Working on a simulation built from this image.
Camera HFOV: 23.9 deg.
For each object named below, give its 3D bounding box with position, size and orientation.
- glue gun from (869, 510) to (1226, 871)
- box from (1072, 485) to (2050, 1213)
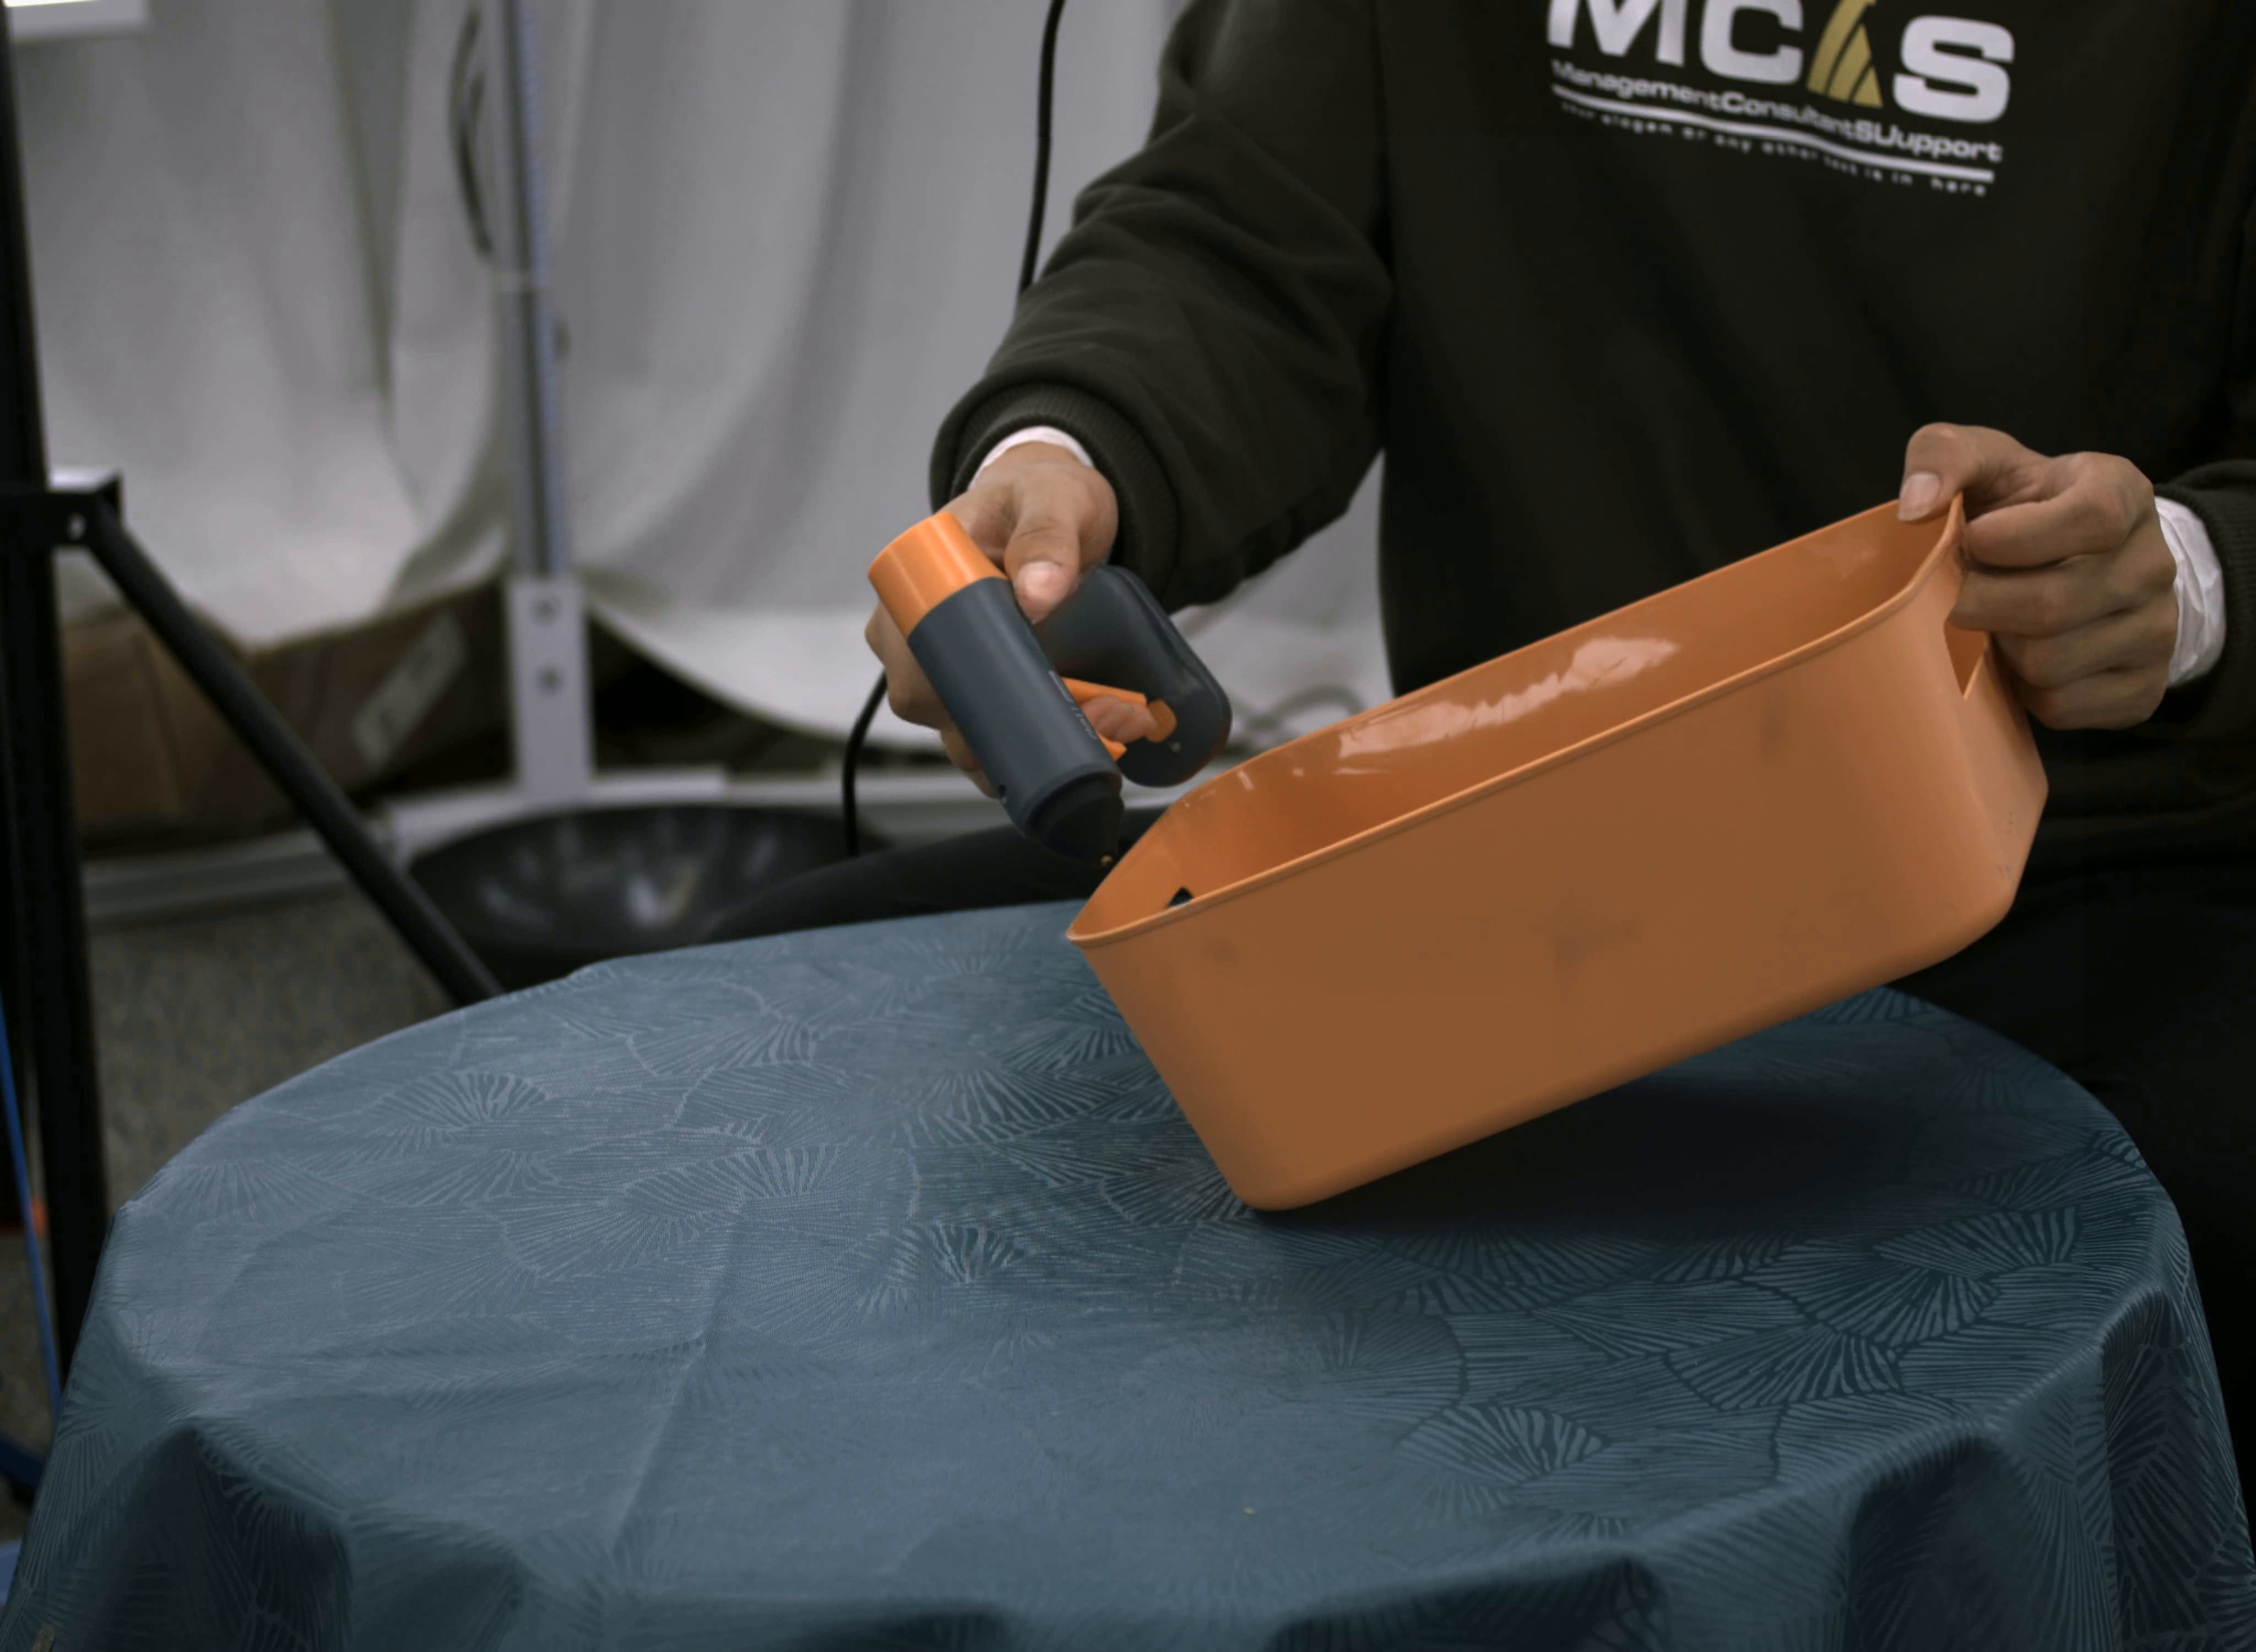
[{"bbox_3d":[-0.020,-0.038,1.585,0.041,0.119,0.137,-40,-12,19],"label":"glue gun"},{"bbox_3d":[0.136,0.010,1.551,0.275,0.102,0.198,-22,8,19],"label":"box"}]
